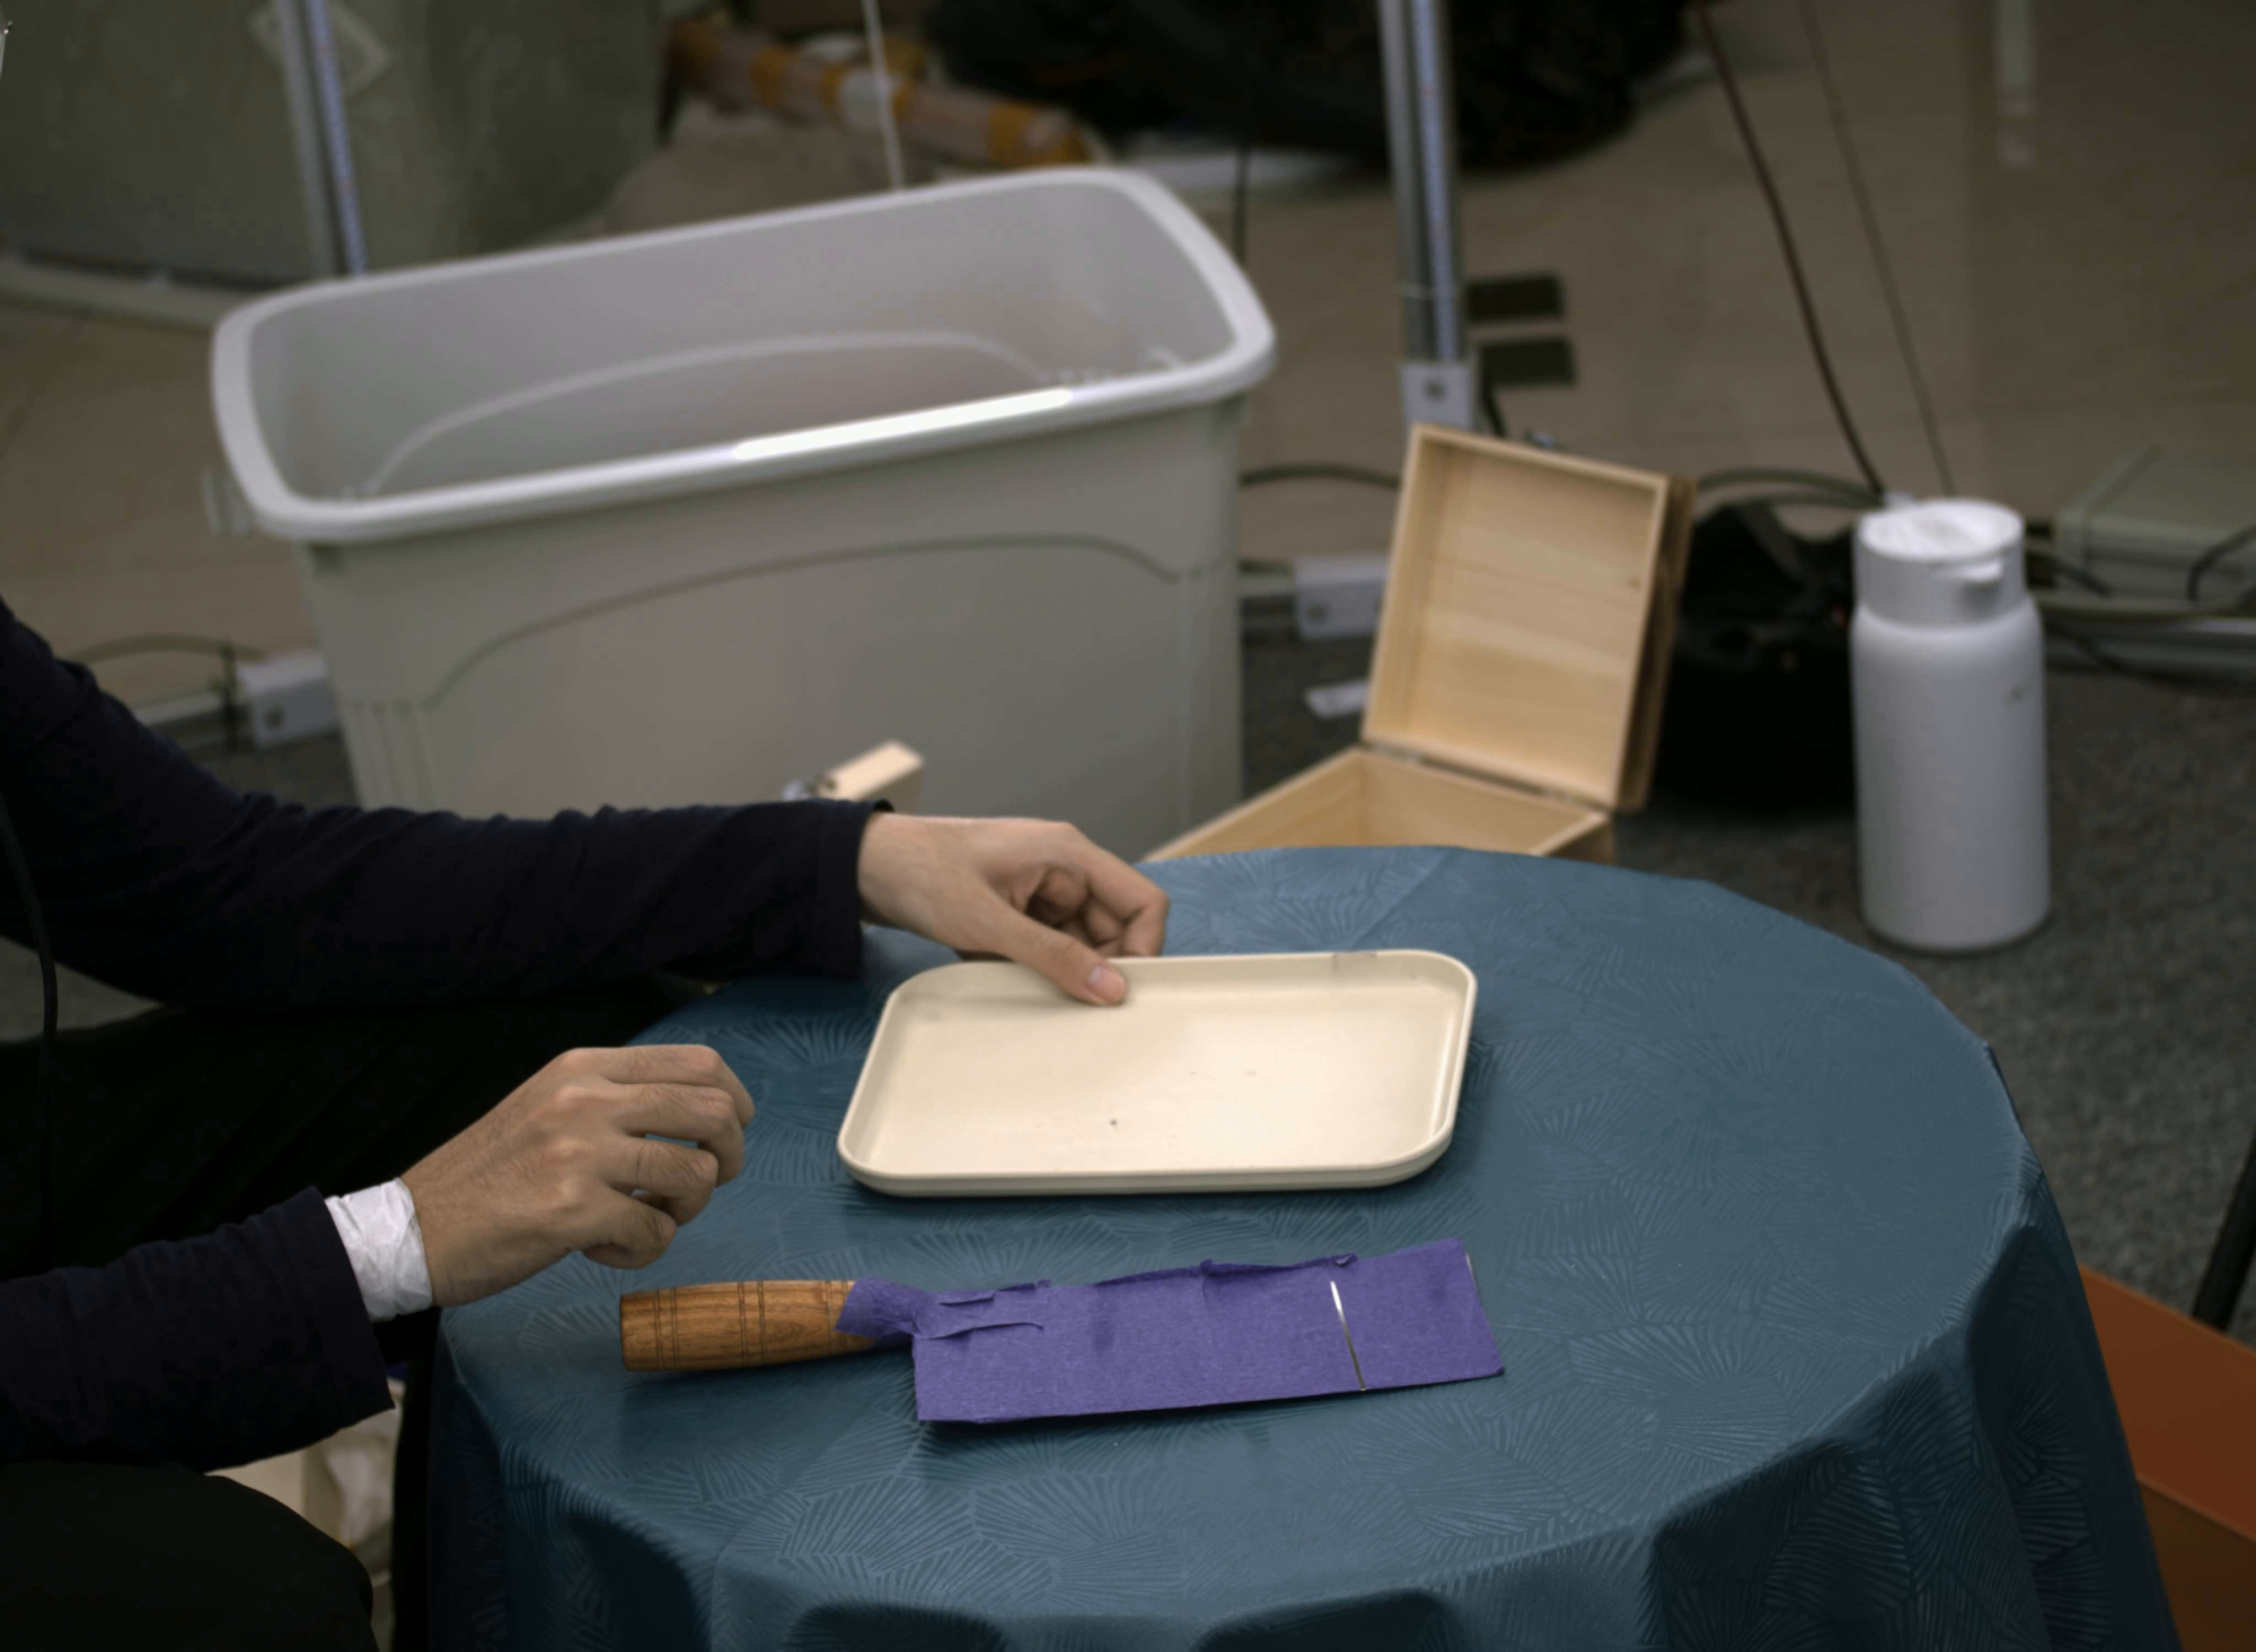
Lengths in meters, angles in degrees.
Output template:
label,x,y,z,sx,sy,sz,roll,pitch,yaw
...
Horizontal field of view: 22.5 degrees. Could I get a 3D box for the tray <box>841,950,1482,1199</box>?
label,x,y,z,sx,sy,sz,roll,pitch,yaw
tray,0.015,0.098,2.209,0.239,0.018,0.168,-1,28,10

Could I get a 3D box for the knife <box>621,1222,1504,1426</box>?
label,x,y,z,sx,sy,sz,roll,pitch,yaw
knife,-0.025,0.182,2.032,0.315,0.033,0.102,-7,24,-2
